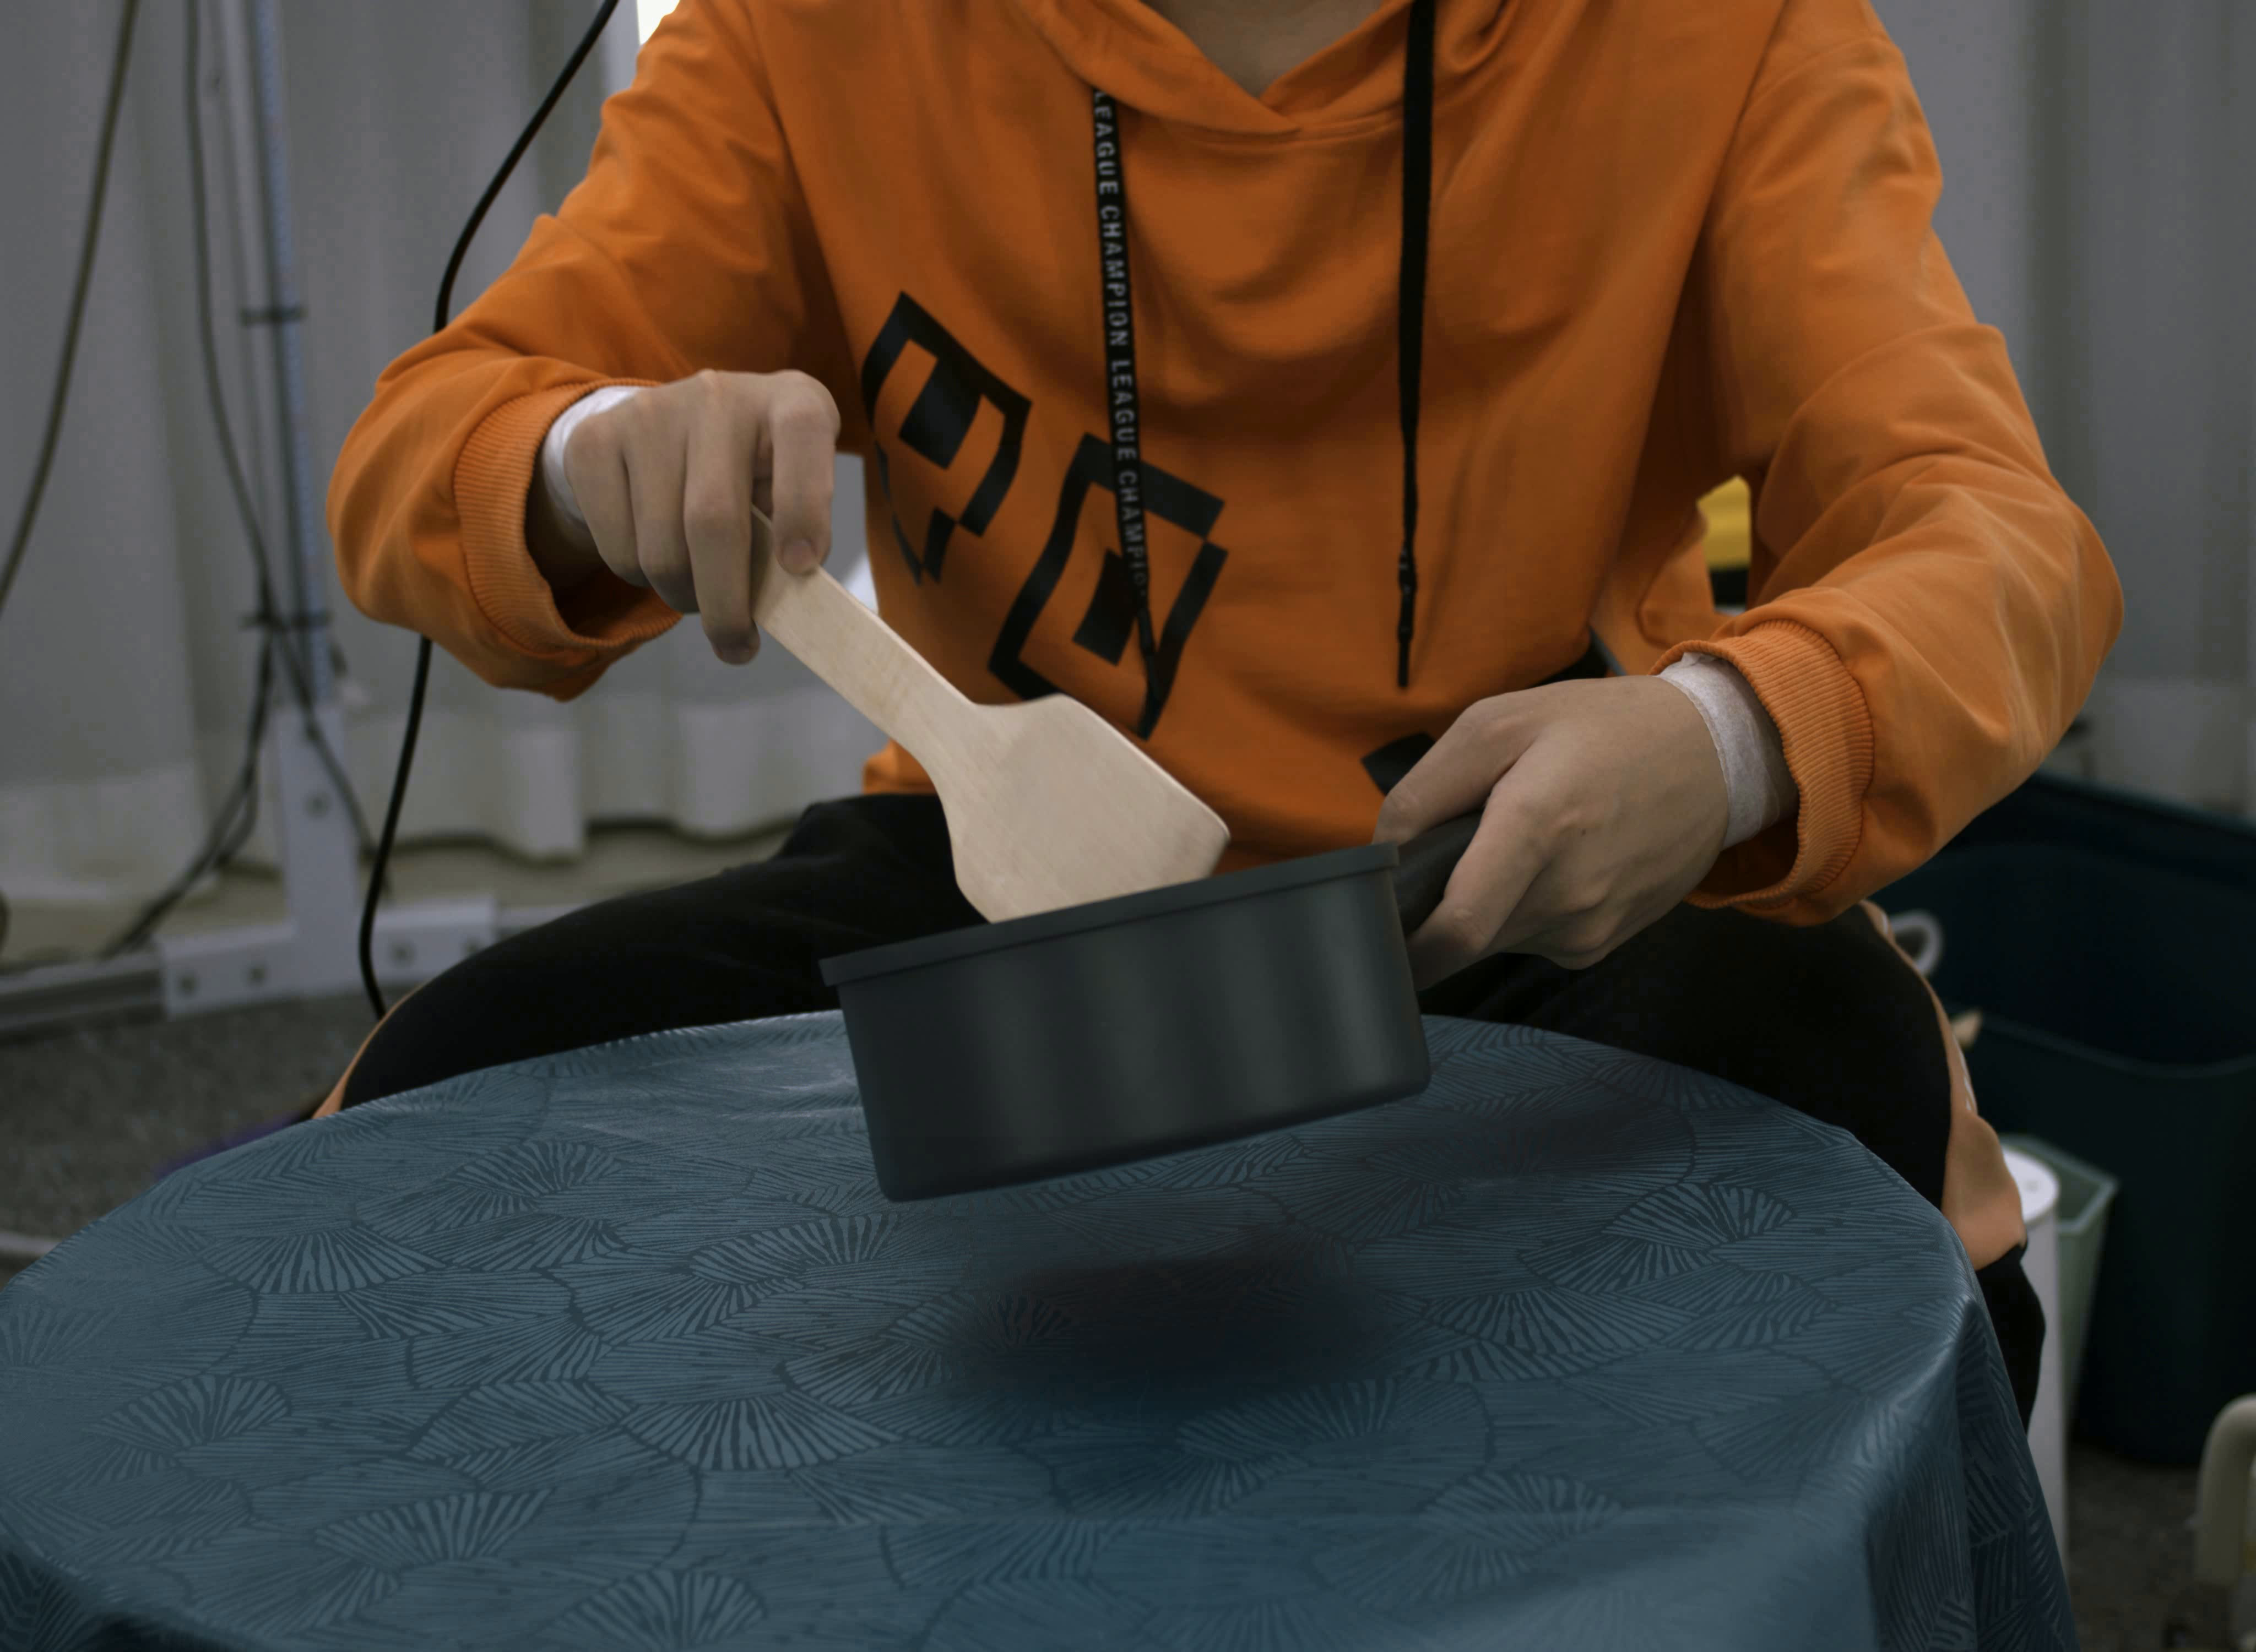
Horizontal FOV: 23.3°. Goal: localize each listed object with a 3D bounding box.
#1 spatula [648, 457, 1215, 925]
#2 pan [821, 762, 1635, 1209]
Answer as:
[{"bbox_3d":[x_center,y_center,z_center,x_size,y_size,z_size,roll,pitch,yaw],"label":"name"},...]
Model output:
[{"bbox_3d":[-0.070,-0.043,1.667,0.010,0.072,0.296,14,18,-43],"label":"spatula"},{"bbox_3d":[0.052,0.045,1.638,0.172,0.087,0.328,-12,0,41],"label":"pan"}]
